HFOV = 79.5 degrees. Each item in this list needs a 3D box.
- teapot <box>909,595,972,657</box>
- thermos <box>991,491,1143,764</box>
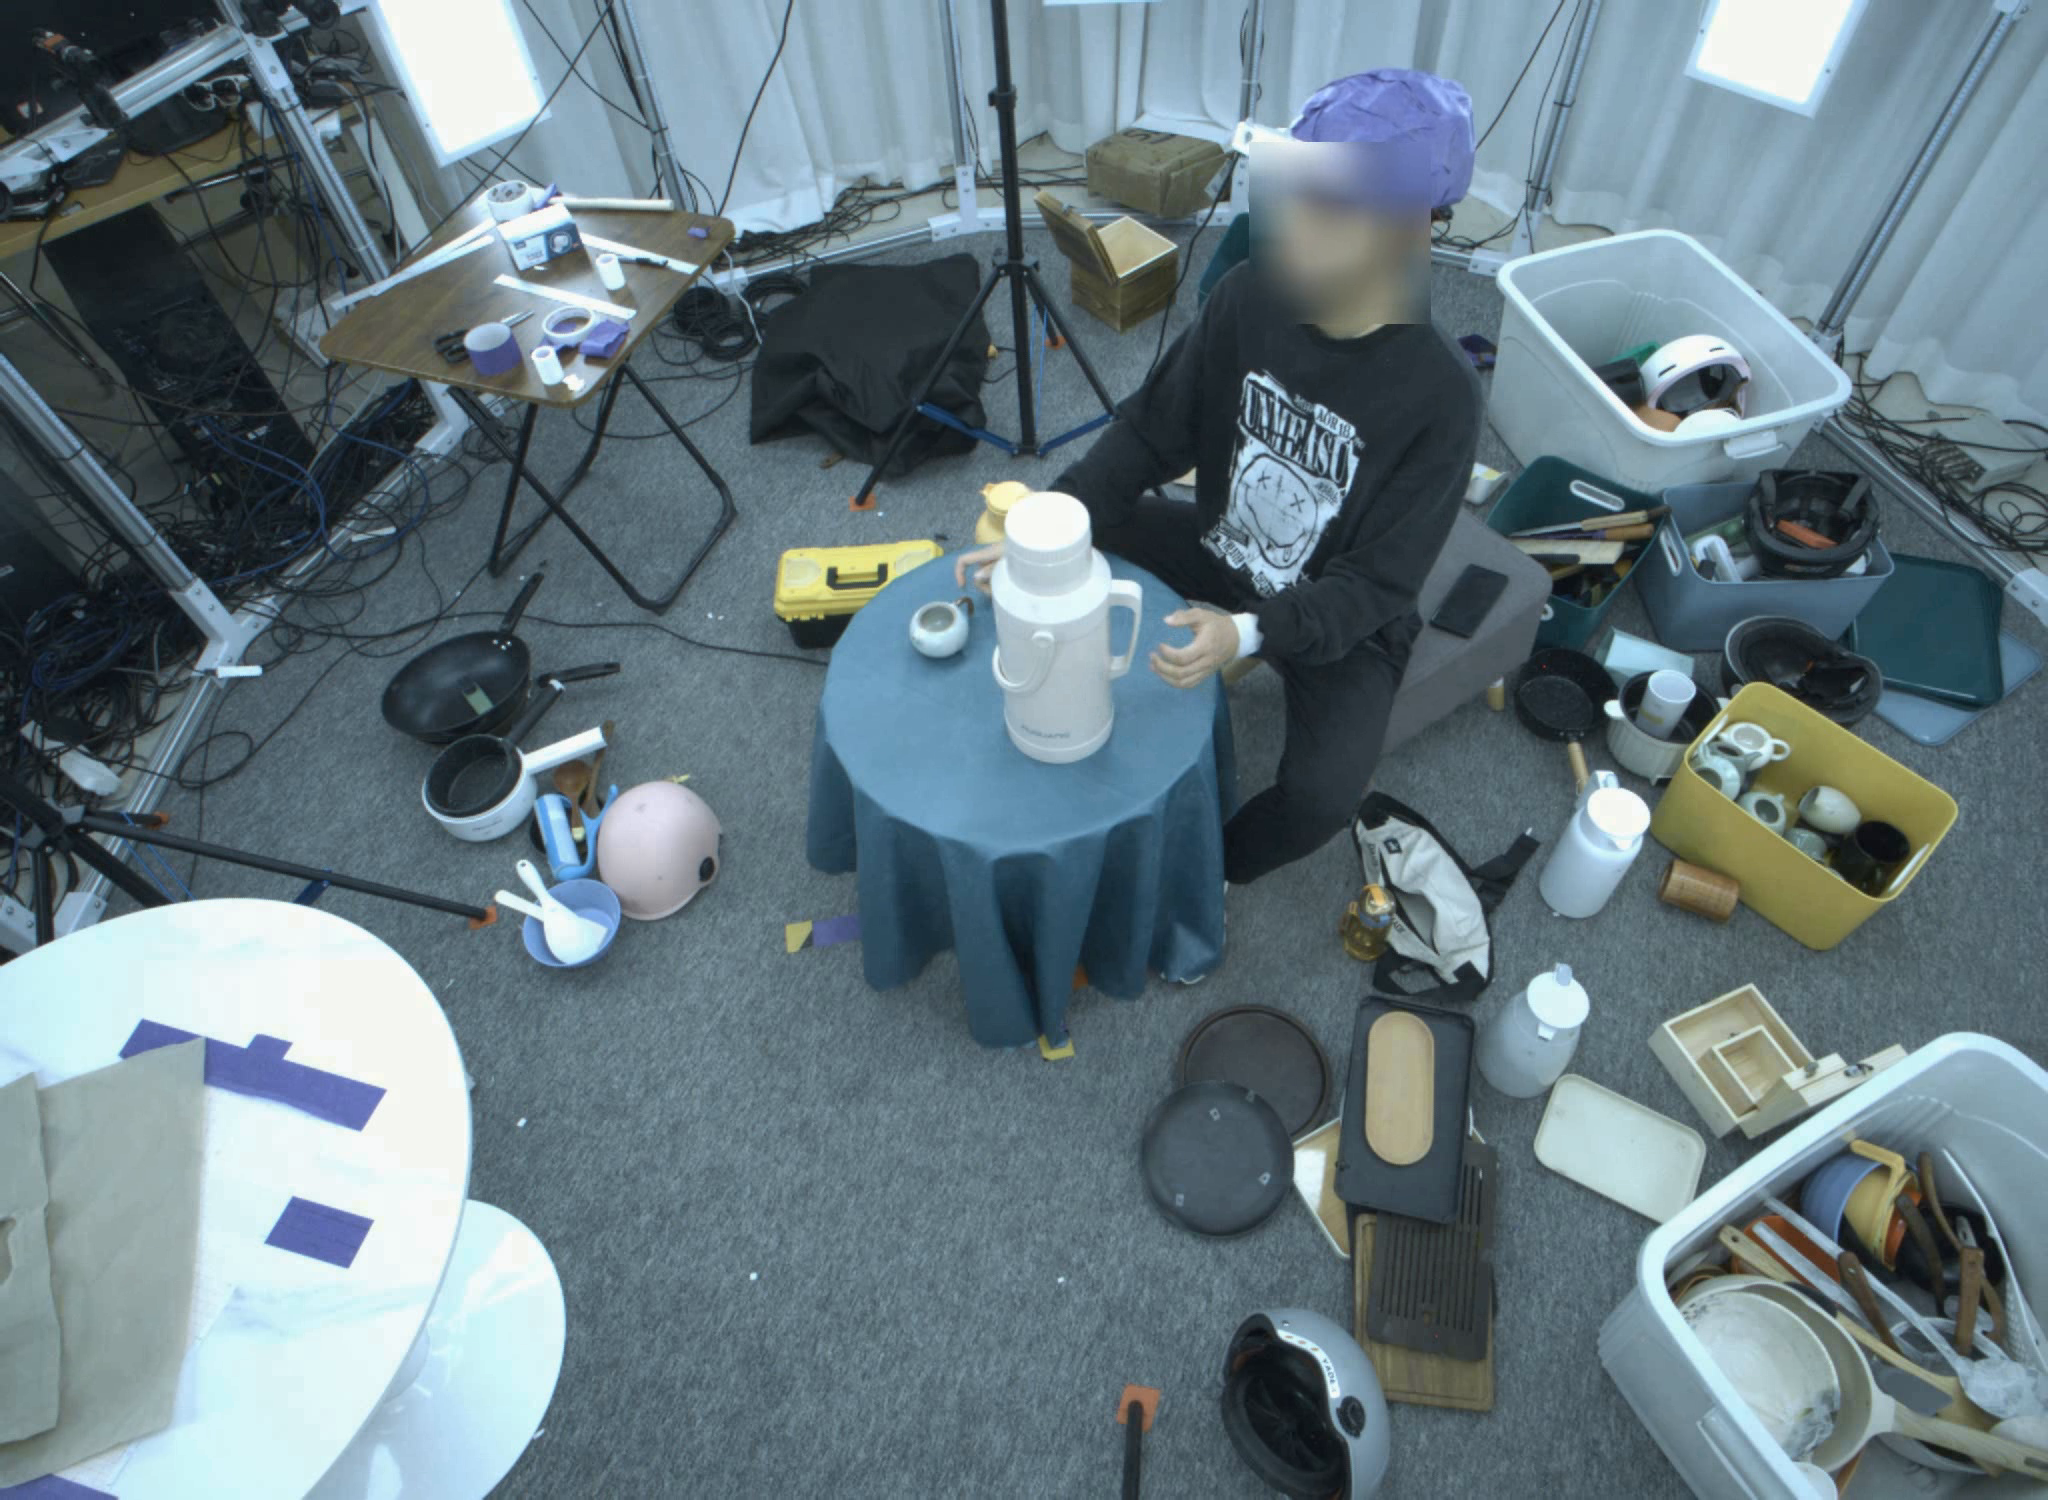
[{"bbox_3d":[-0.126,-0.191,1.887,0.090,0.060,0.129,31,62,28],"label":"teapot"},{"bbox_3d":[0.055,-0.158,1.650,0.206,0.411,0.174,3,53,7],"label":"thermos"}]
